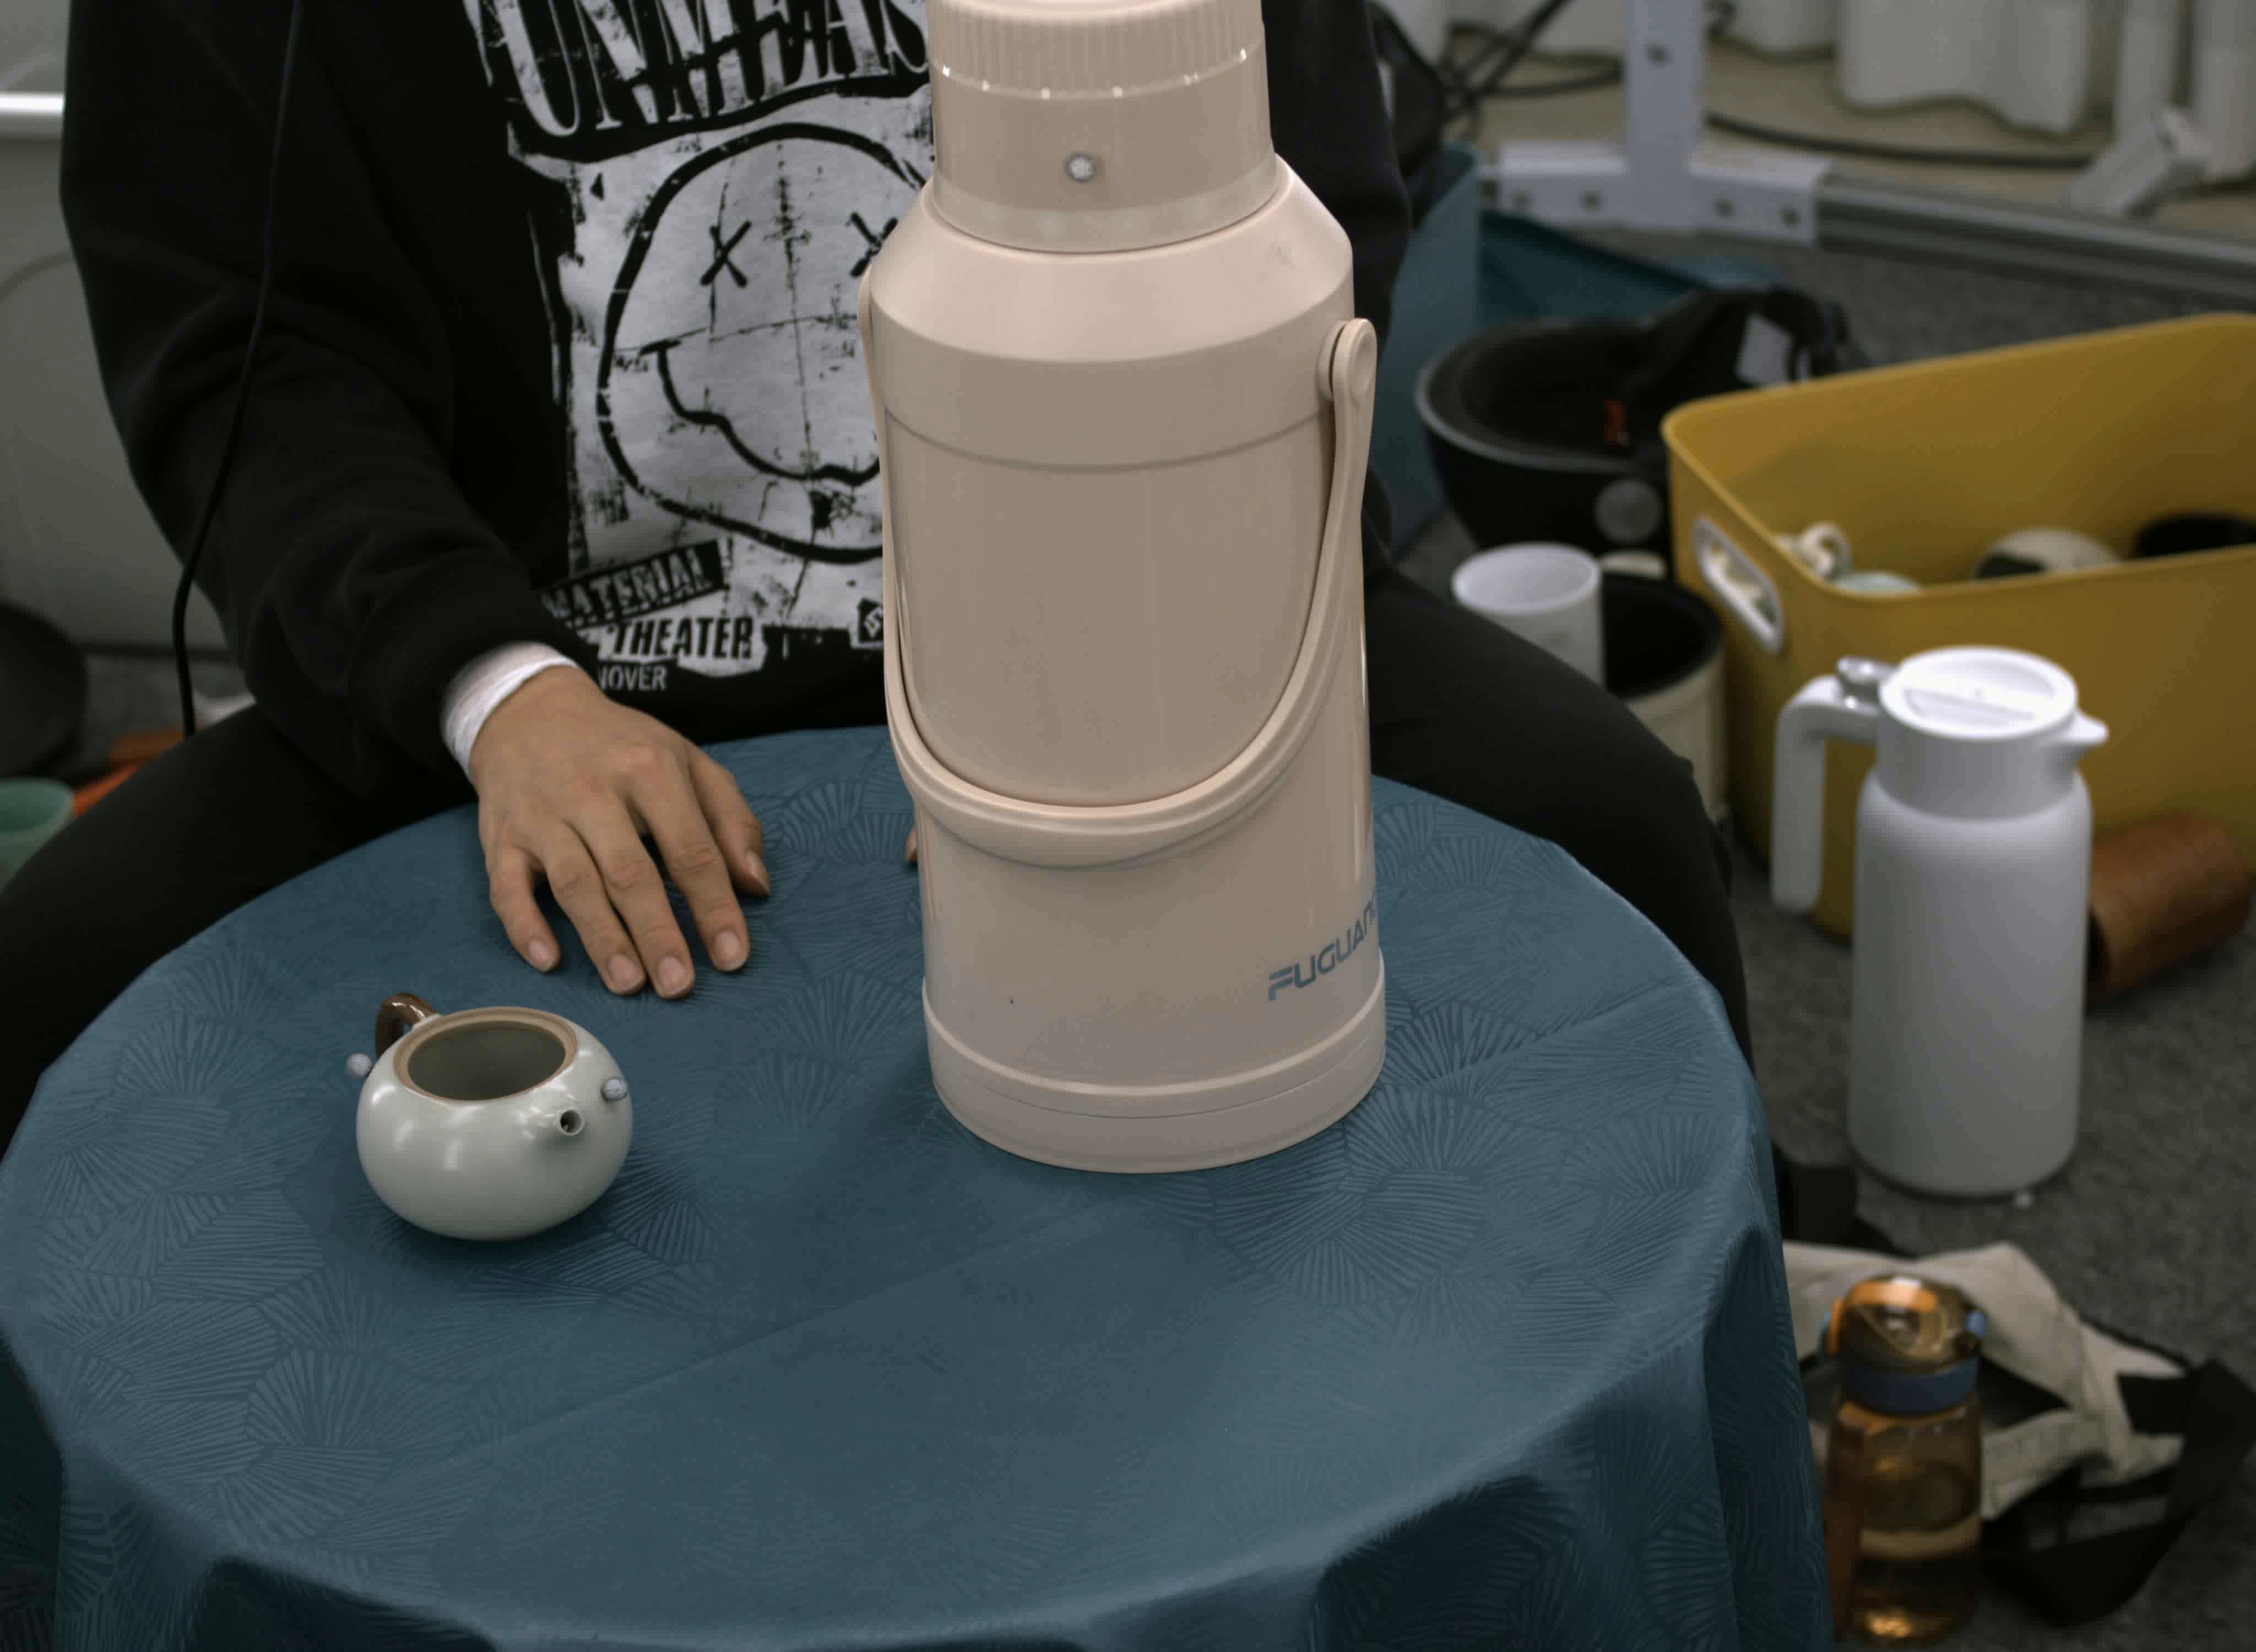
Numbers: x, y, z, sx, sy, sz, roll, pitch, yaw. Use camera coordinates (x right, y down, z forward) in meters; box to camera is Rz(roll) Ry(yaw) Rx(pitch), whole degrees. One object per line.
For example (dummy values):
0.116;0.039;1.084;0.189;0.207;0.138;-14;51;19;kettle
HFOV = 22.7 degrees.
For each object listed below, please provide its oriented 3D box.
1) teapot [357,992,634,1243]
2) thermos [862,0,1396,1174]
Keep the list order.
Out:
-0.215;0.096;1.866;0.093;0.059;0.128;-26;36;-32;teapot
0.008;-0.102;1.865;0.174;0.402;0.210;7;28;23;thermos
